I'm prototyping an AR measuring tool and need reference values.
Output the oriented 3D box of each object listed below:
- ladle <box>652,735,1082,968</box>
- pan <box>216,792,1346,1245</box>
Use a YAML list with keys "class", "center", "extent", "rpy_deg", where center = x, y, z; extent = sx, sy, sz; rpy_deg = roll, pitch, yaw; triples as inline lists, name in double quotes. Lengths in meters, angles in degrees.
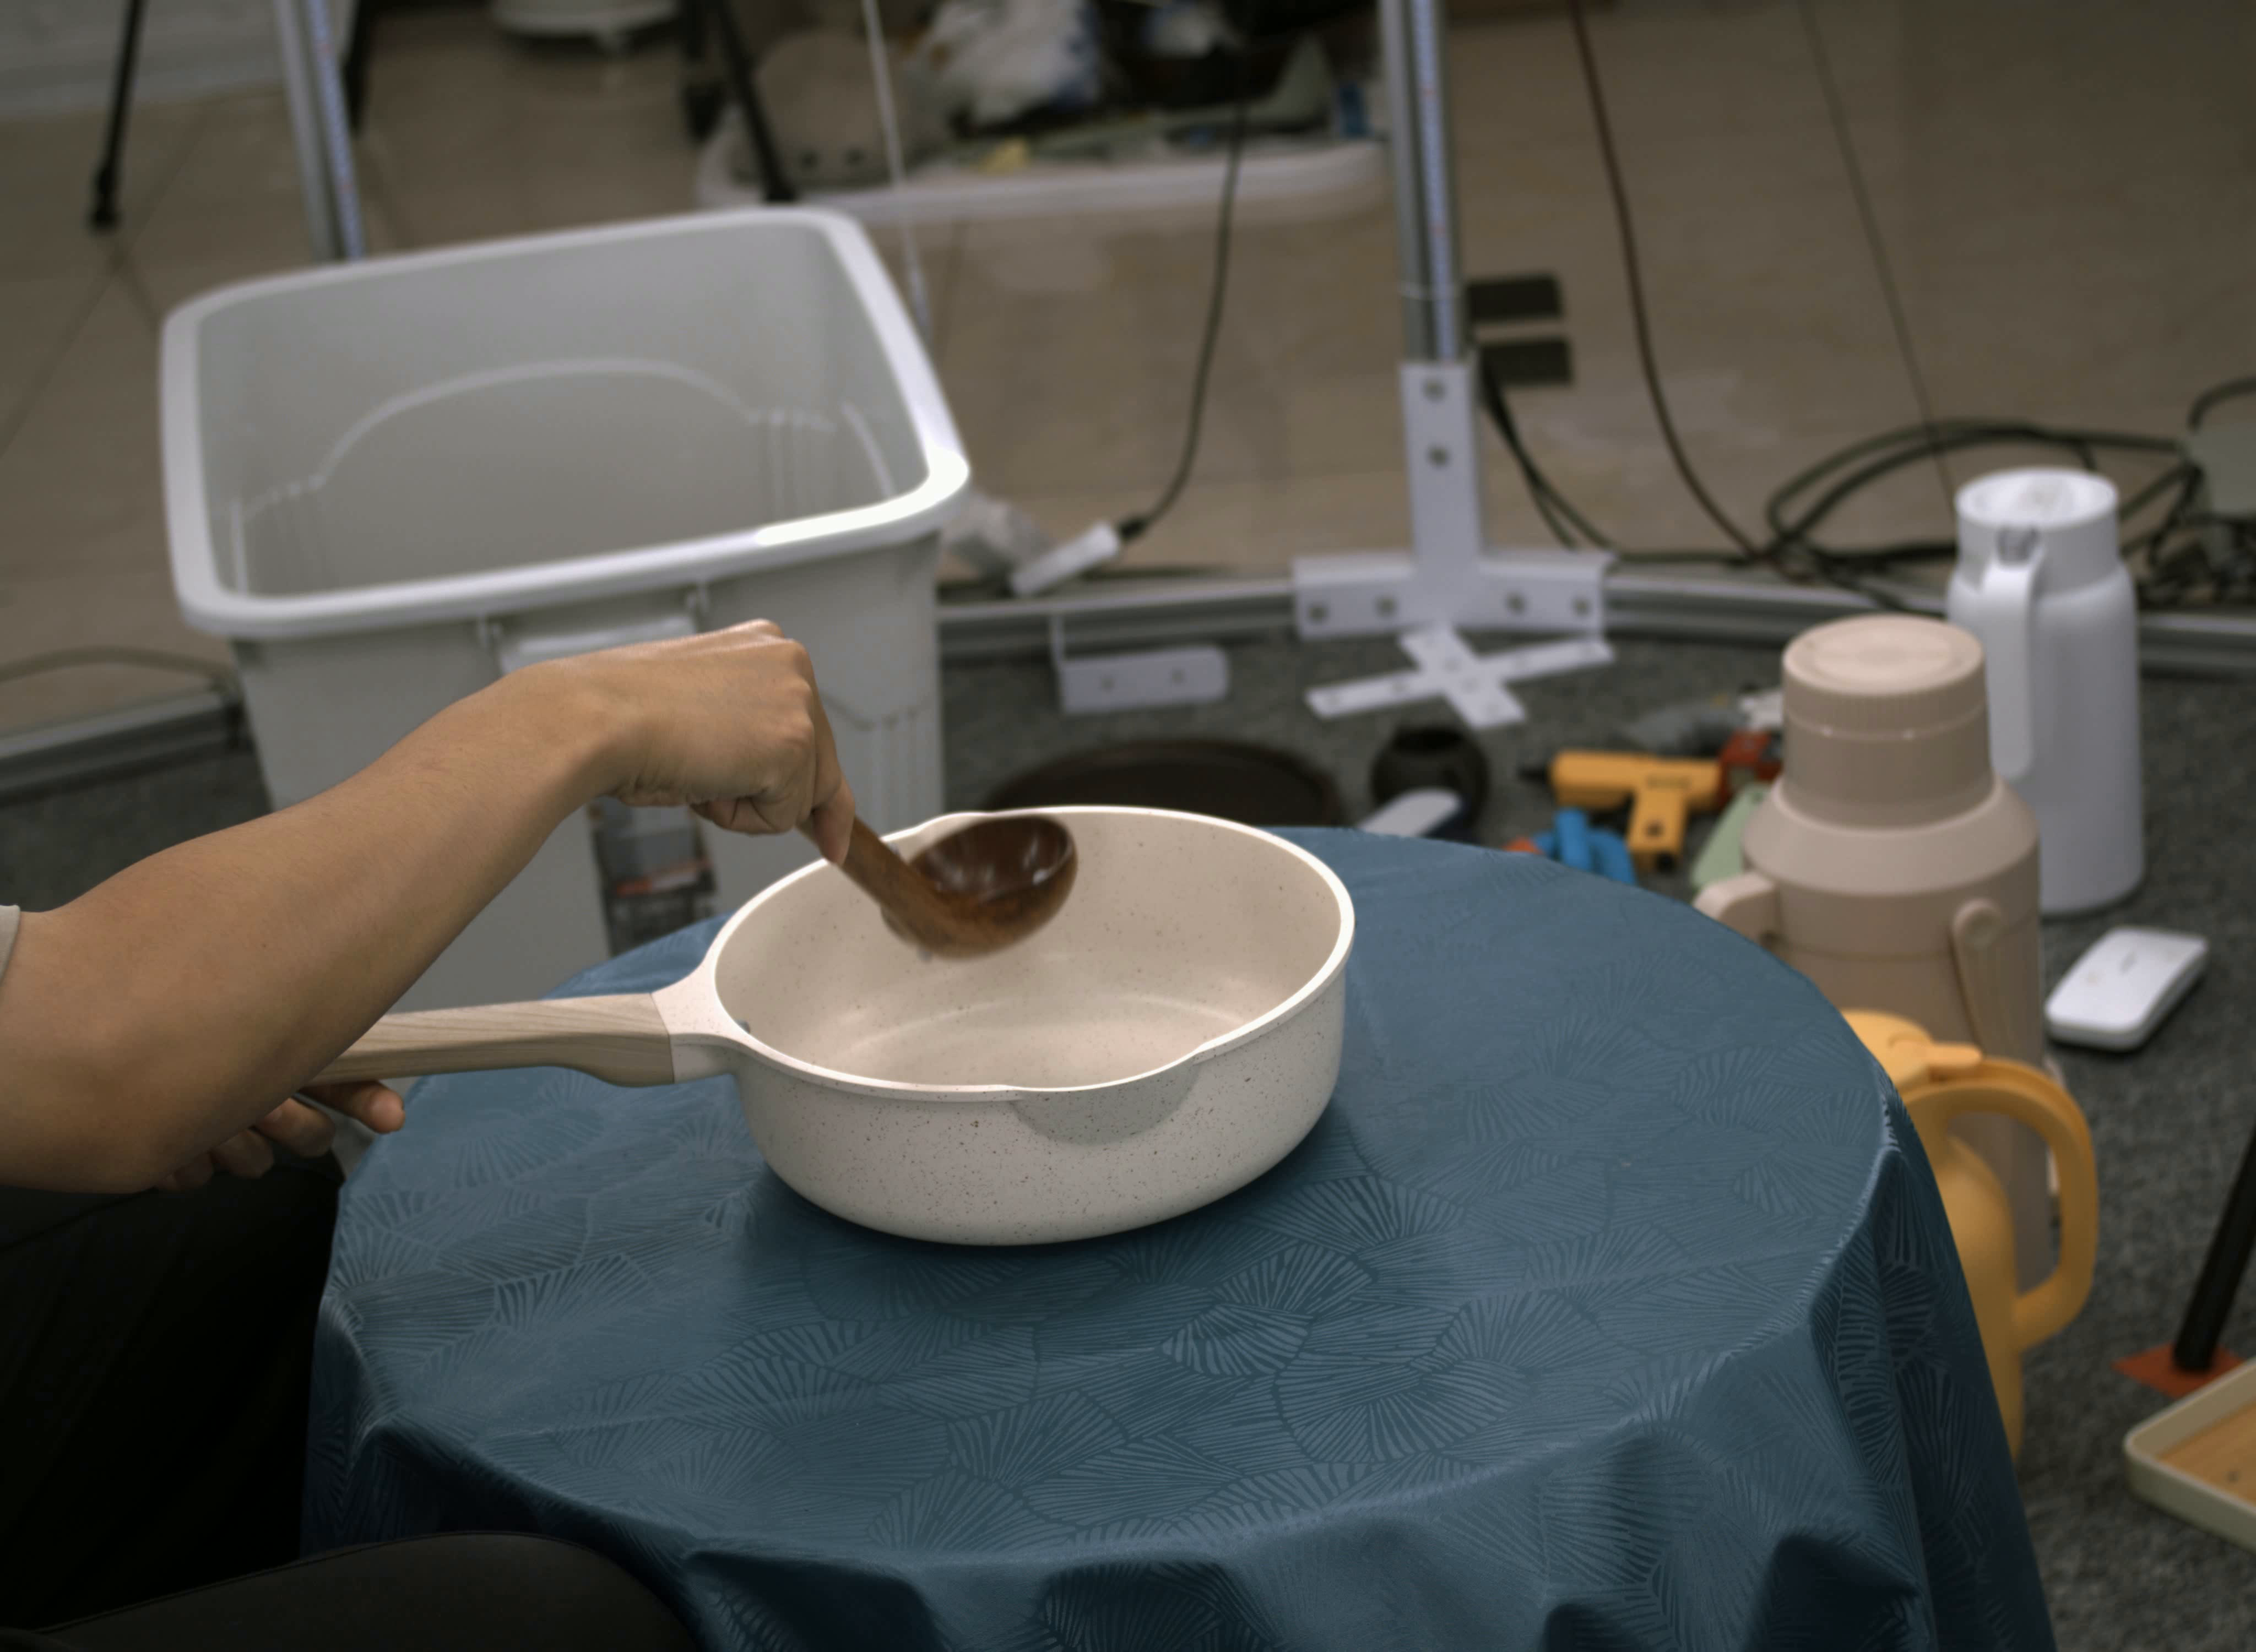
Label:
- class: "ladle"
  center: [-0.100, -0.011, 2.112]
  extent: [0.082, 0.277, 0.075]
  rpy_deg: [-18, 63, 20]
- class: "pan"
  center: [-0.126, 0.089, 2.170]
  extent: [0.434, 0.103, 0.259]
  rpy_deg: [-12, 27, -11]
